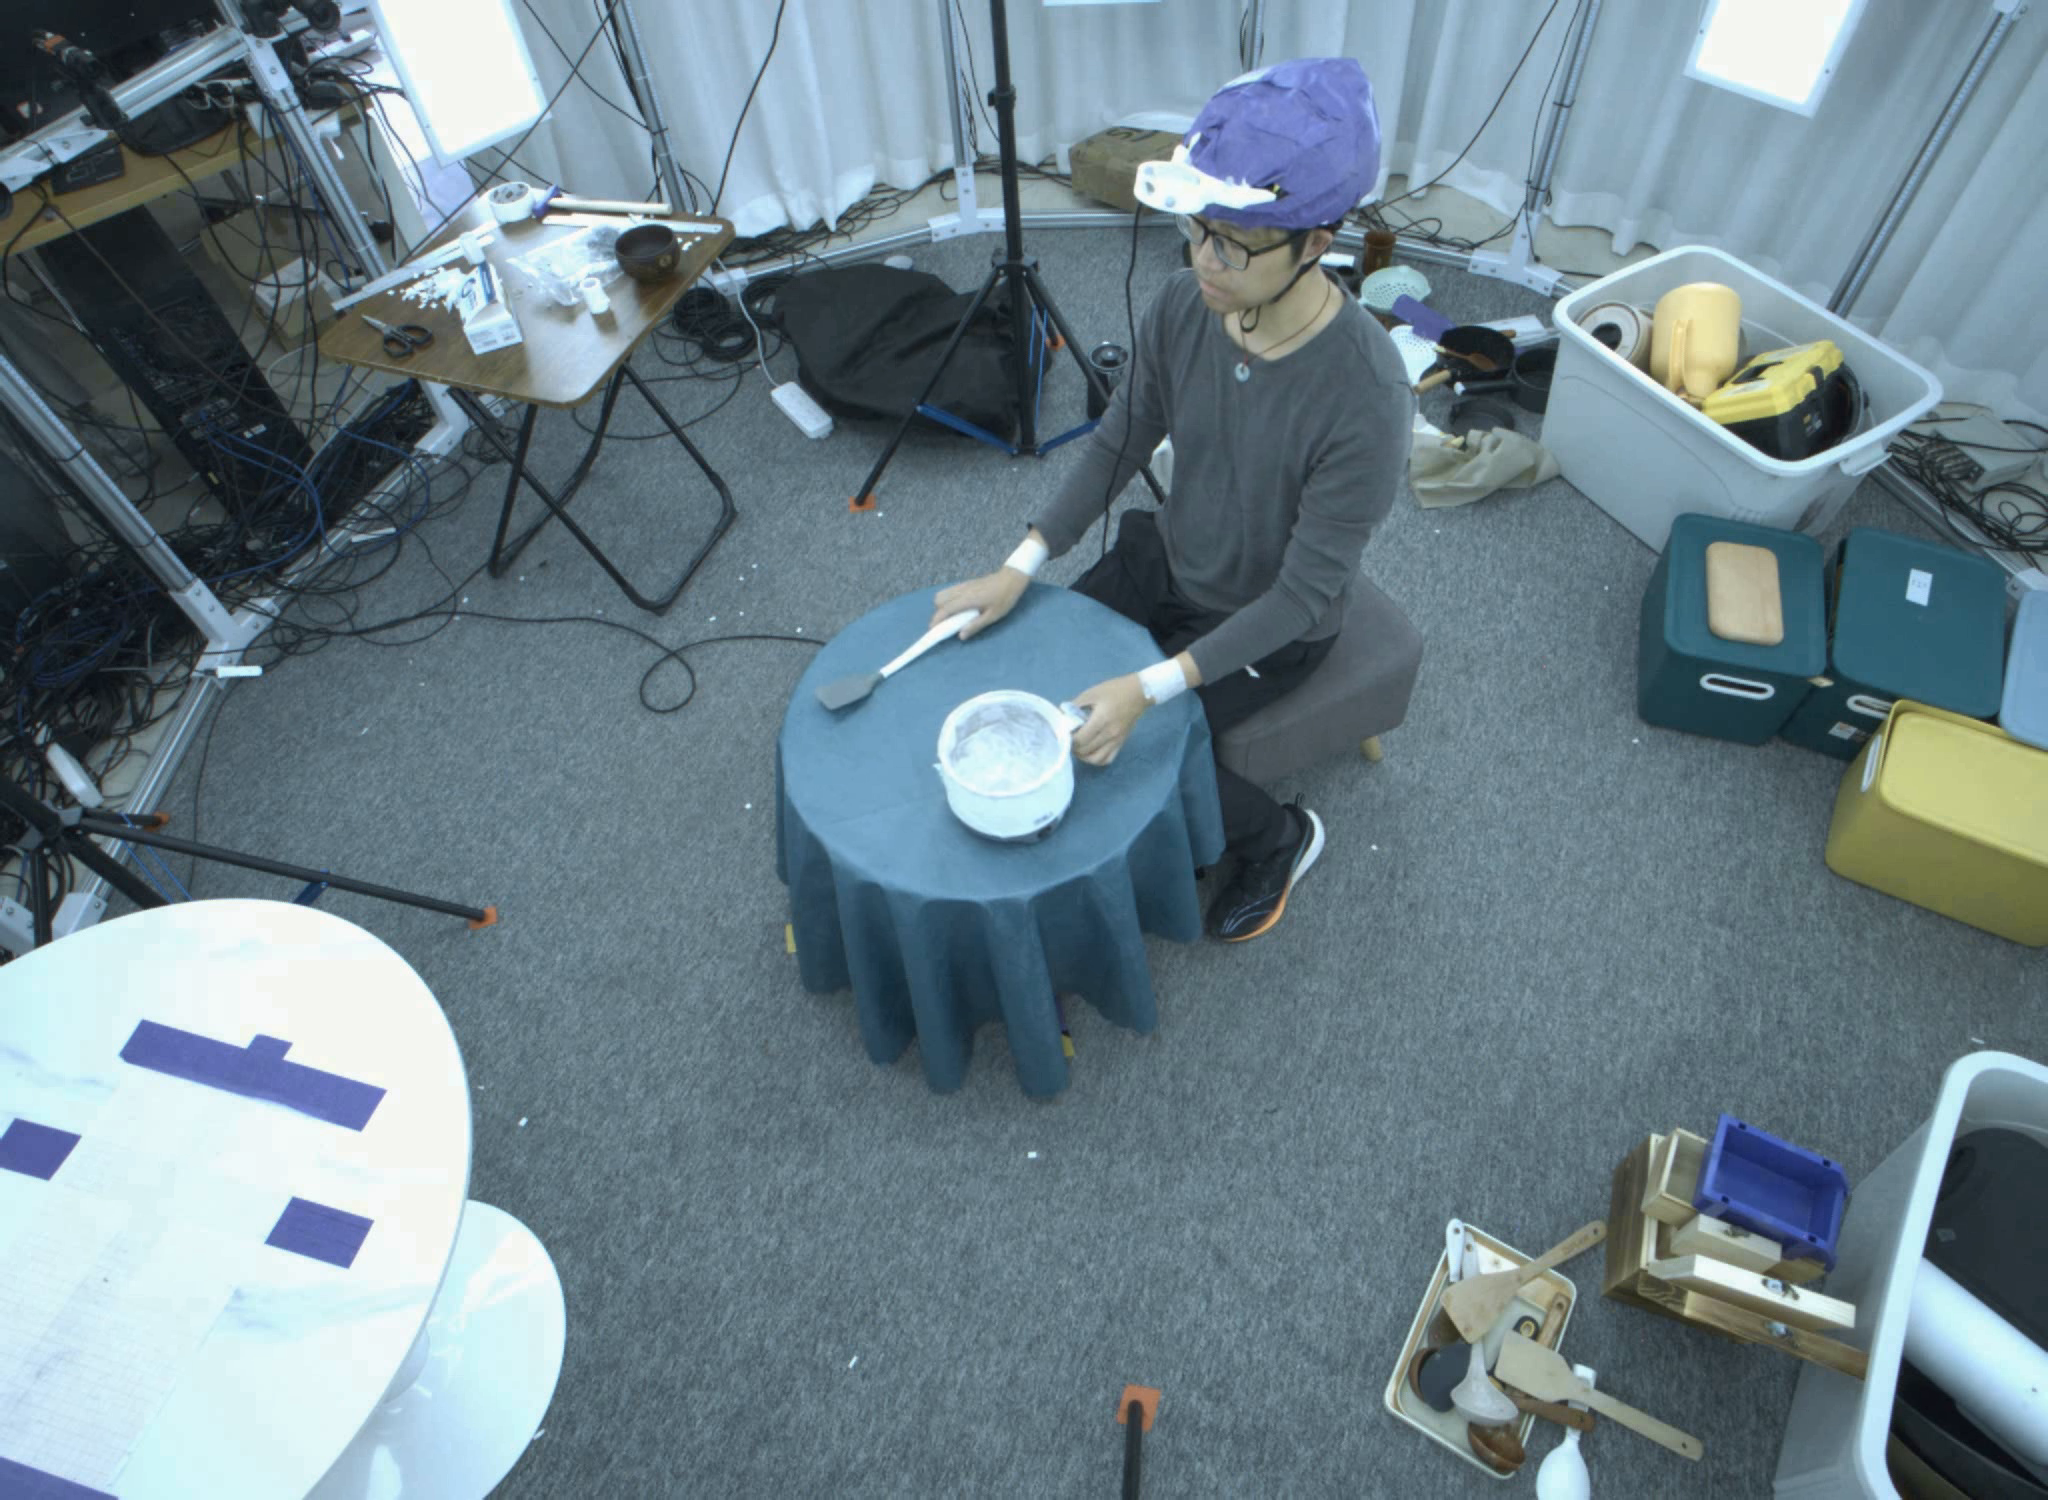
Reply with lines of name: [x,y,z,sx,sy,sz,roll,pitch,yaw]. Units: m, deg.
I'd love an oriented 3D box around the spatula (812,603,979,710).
spatula: [-0.193,-0.143,1.881,0.290,0.032,0.057,-34,63,-20]

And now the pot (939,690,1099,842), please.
pot: [0.001,0.013,1.701,0.235,0.138,0.175,-31,59,-19]
